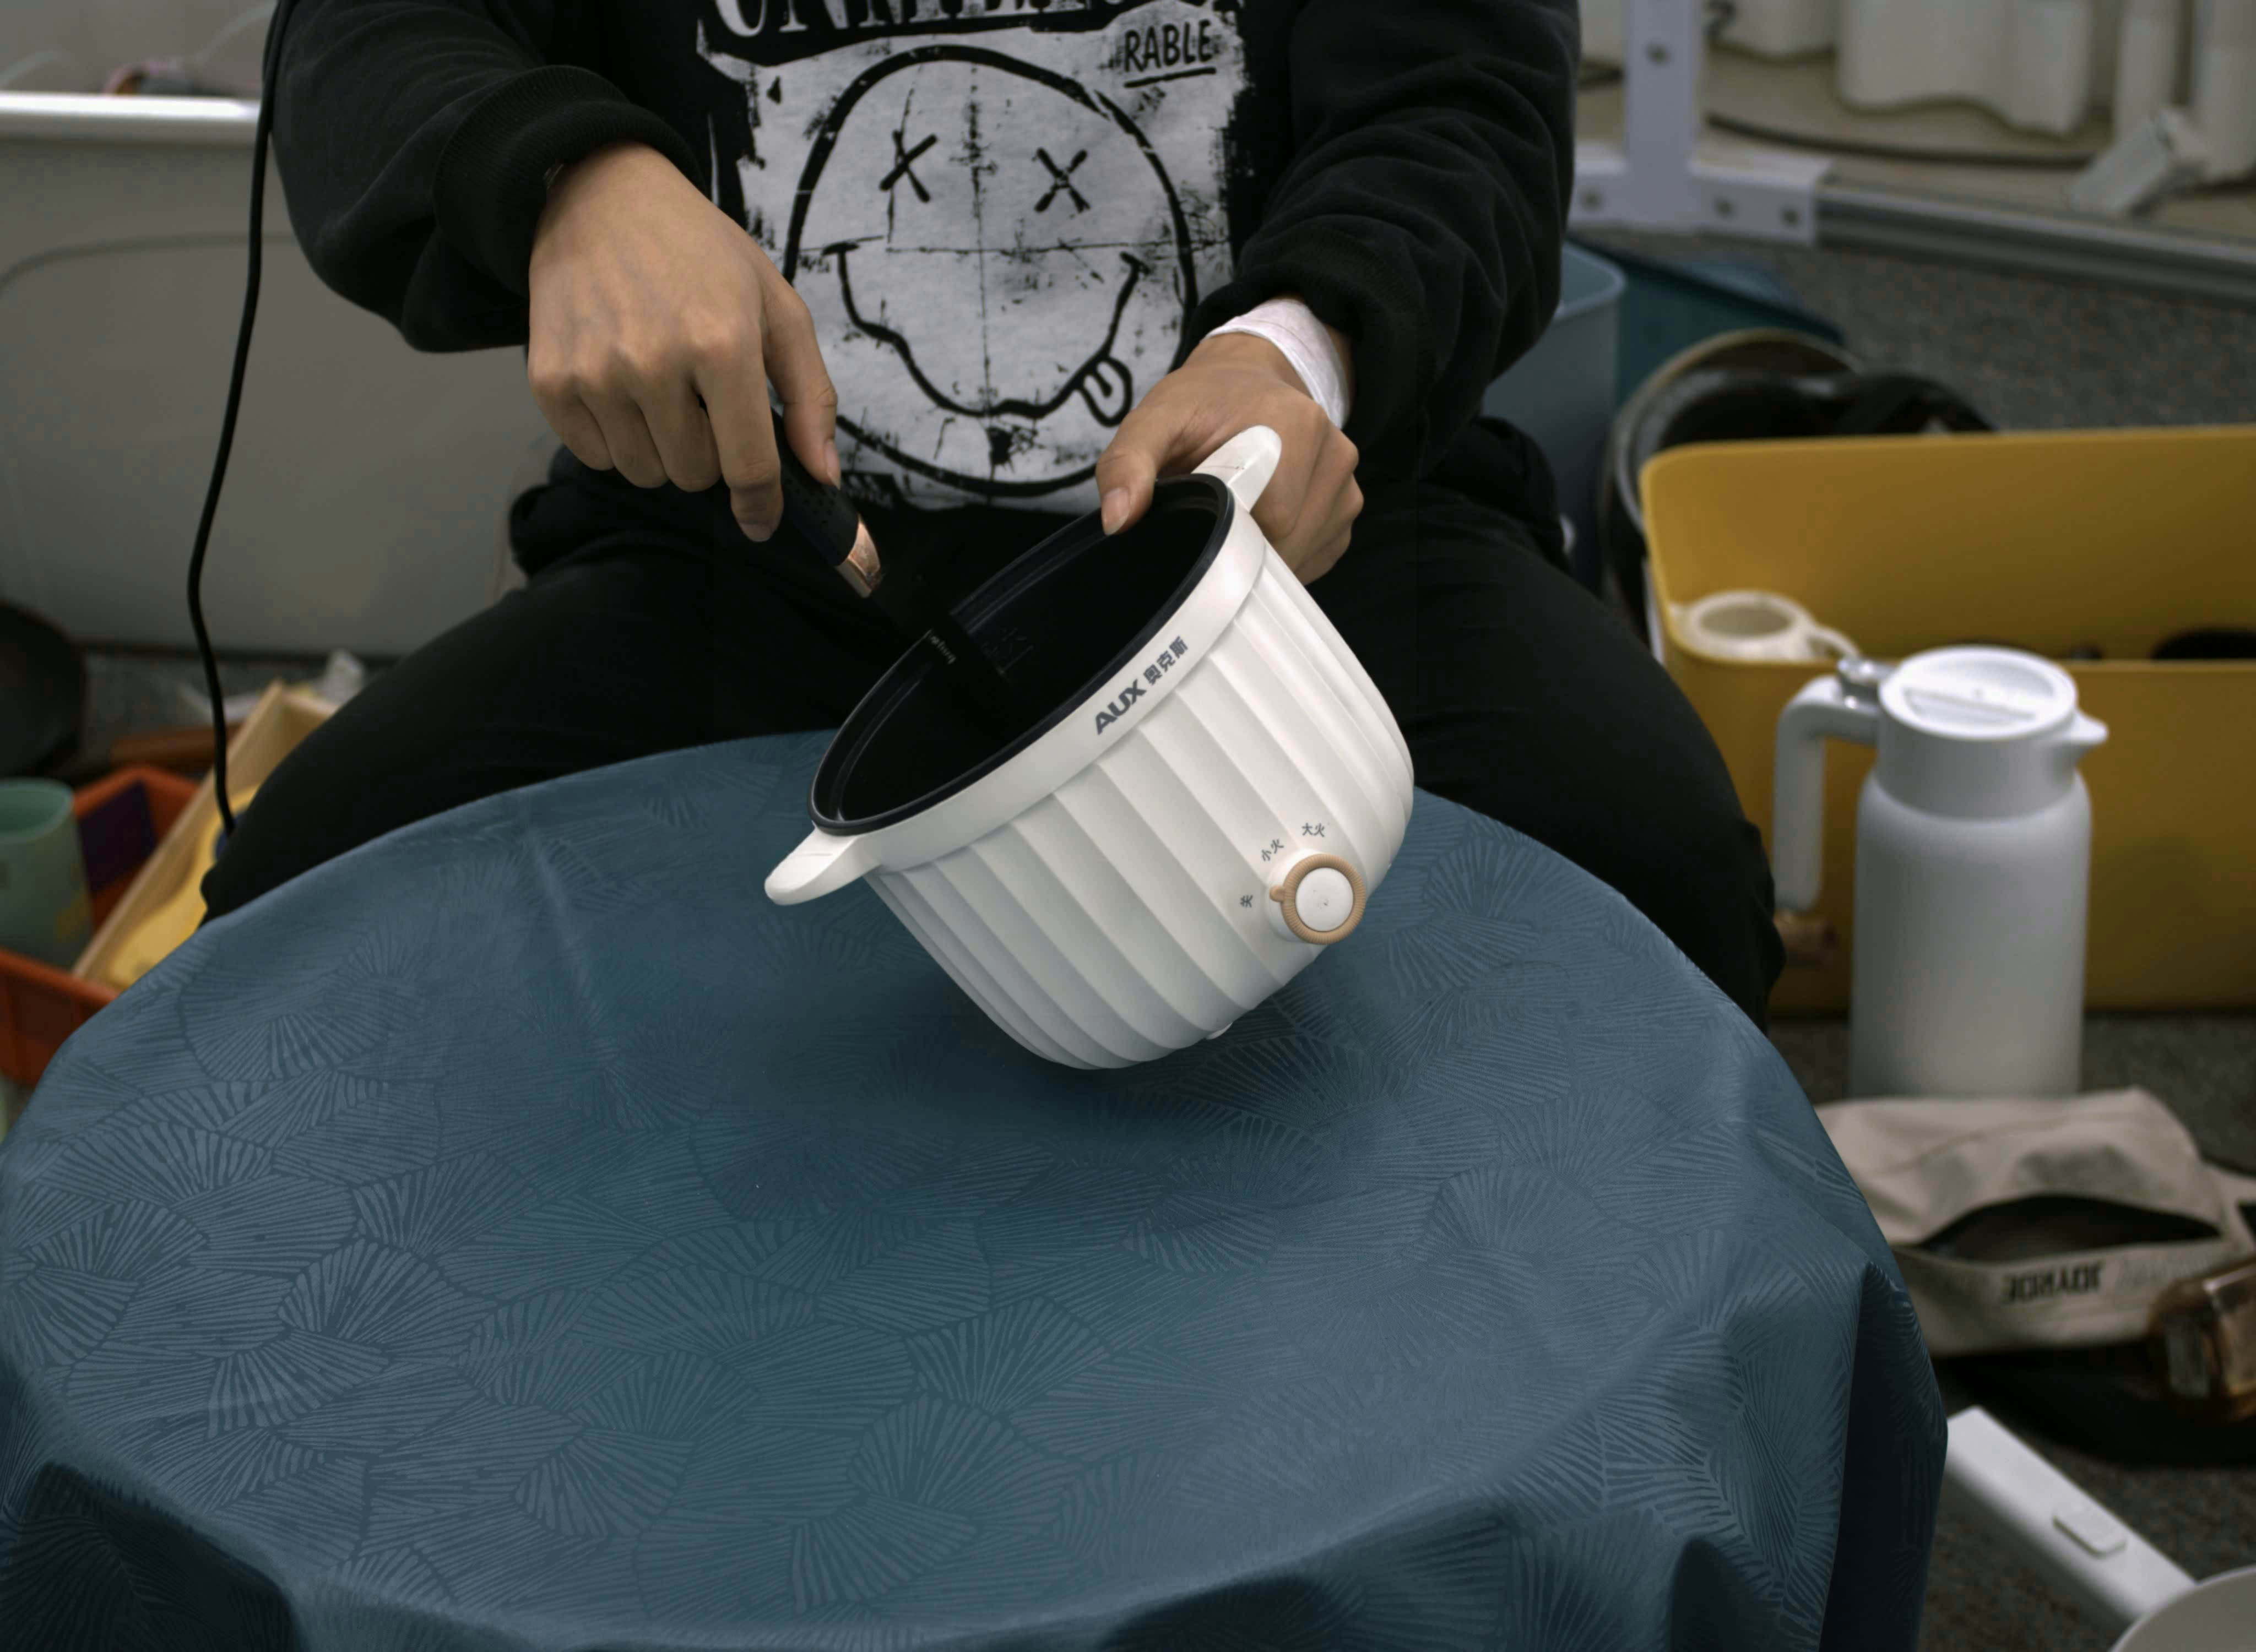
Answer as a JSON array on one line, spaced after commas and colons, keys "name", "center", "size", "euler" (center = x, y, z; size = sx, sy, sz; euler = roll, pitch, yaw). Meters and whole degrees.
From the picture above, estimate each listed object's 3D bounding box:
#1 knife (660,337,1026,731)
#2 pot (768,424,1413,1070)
[{"name": "knife", "center": [-0.084, -0.086, 1.964], "size": [0.017, 0.224, 0.027], "euler": [-27, 22, 43]}, {"name": "pot", "center": [0.005, -0.012, 1.915], "size": [0.243, 0.142, 0.189], "euler": [-45, 15, -16]}]
